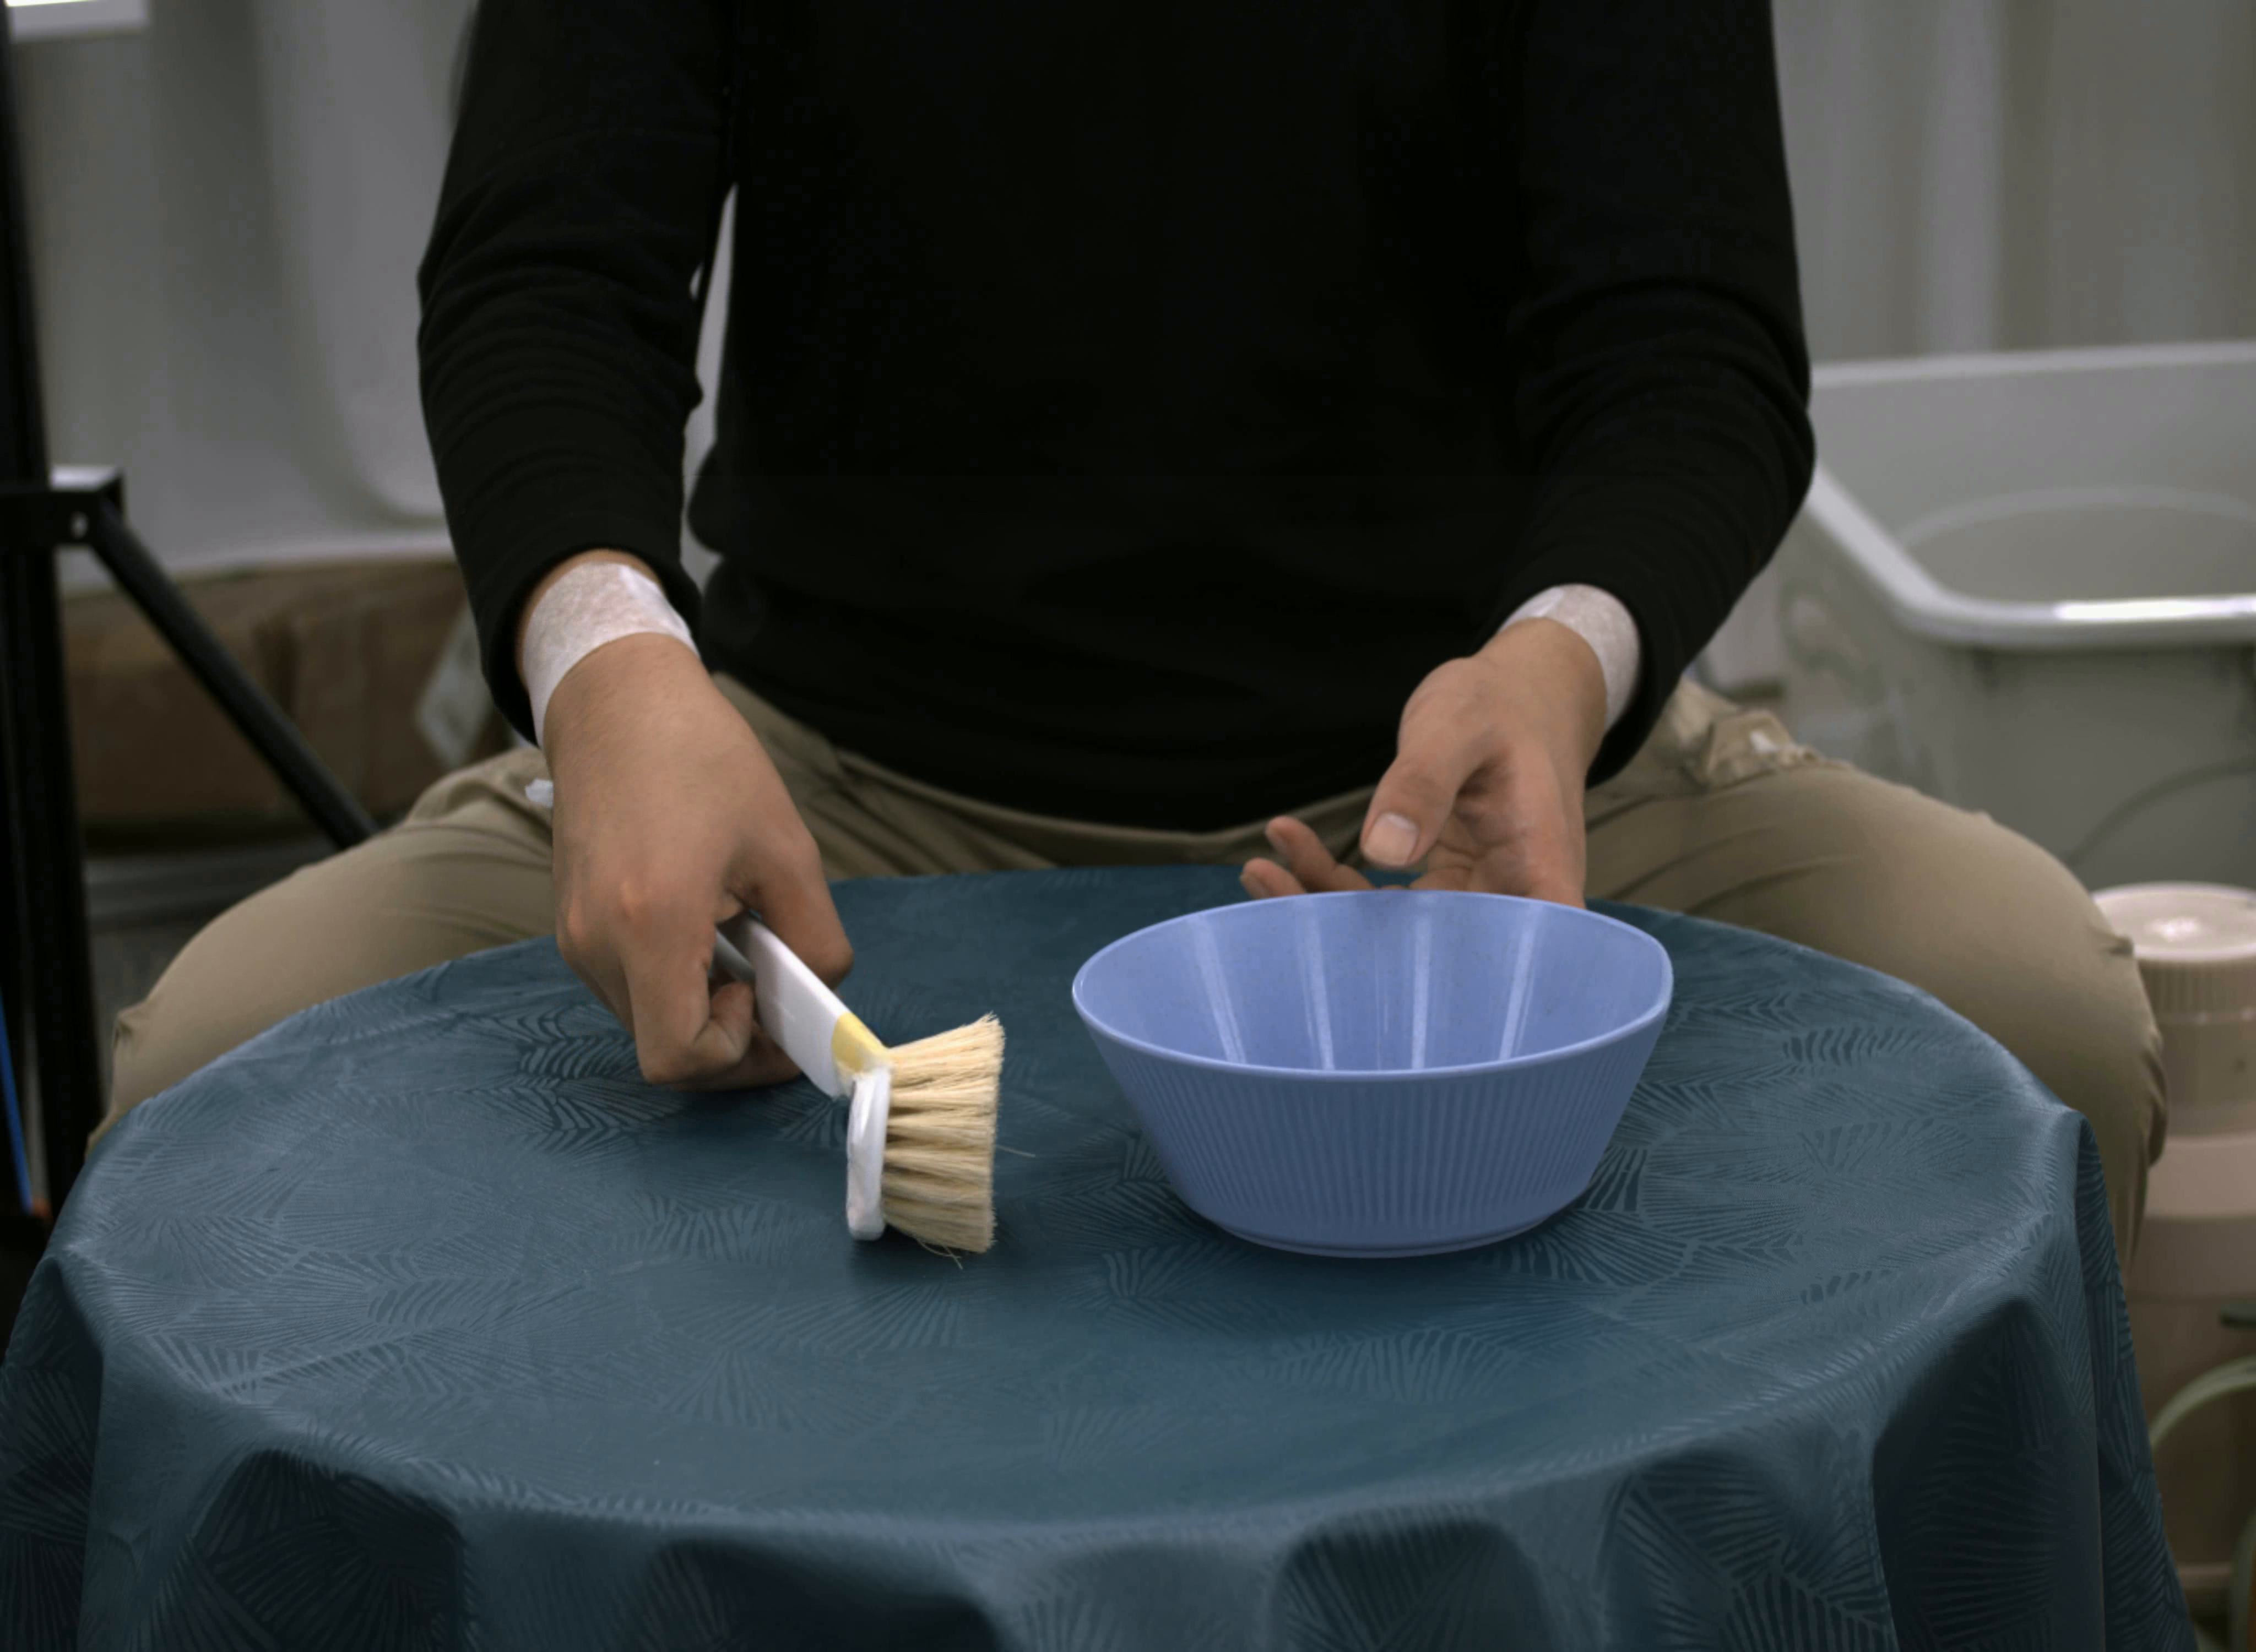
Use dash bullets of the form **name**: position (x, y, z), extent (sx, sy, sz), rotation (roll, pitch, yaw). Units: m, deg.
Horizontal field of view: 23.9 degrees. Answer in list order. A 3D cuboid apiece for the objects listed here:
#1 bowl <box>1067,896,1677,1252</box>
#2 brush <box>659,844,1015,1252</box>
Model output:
- **bowl**: position (0.071, 0.074, 1.534), extent (0.175, 0.070, 0.177), rotation (-2, 15, -1)
- **brush**: position (-0.087, 0.056, 1.614), extent (0.055, 0.069, 0.271), rotation (6, 15, -19)
